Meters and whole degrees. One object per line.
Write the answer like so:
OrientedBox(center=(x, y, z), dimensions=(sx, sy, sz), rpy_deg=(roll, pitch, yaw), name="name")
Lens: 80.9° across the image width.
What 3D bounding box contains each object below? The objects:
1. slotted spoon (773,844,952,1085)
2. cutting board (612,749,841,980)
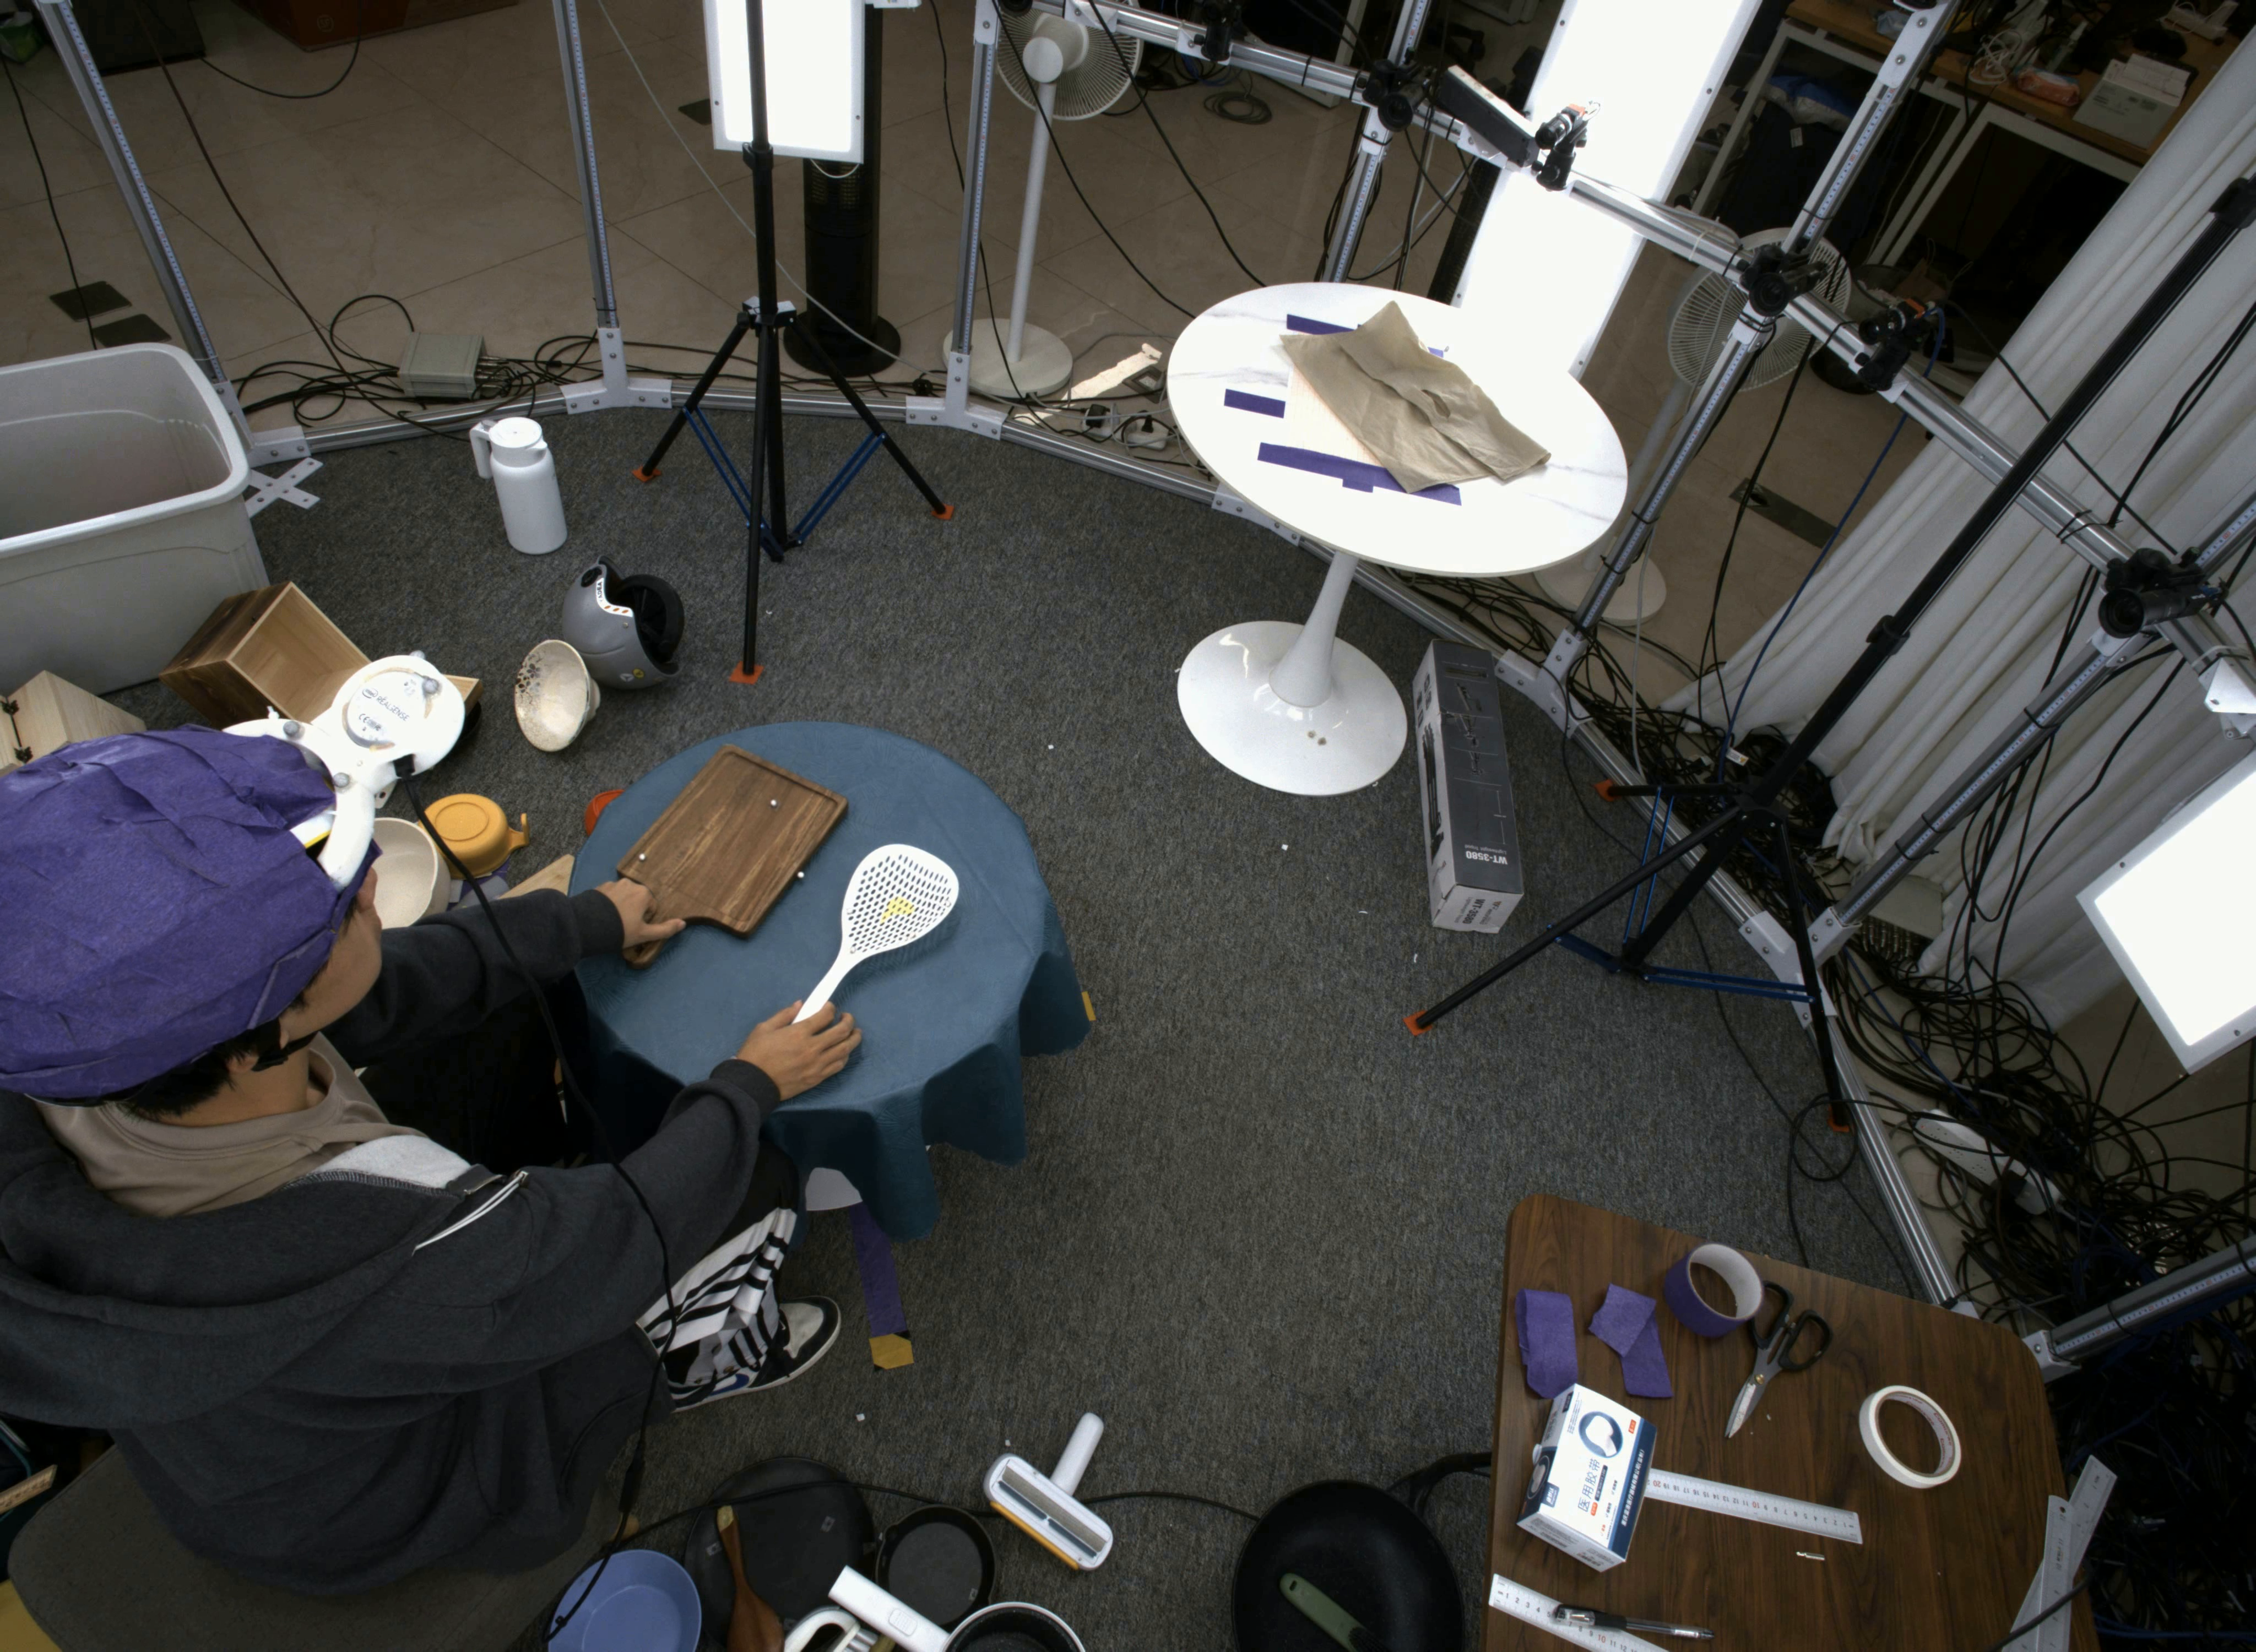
OrientedBox(center=(-0.342, 0.164, 1.600), dimensions=(0.135, 0.051, 0.346), rpy_deg=(27, 52, 6), name="slotted spoon")
OrientedBox(center=(-0.537, 0.053, 1.647), dimensions=(0.198, 0.023, 0.349), rpy_deg=(24, 51, 5), name="cutting board")
